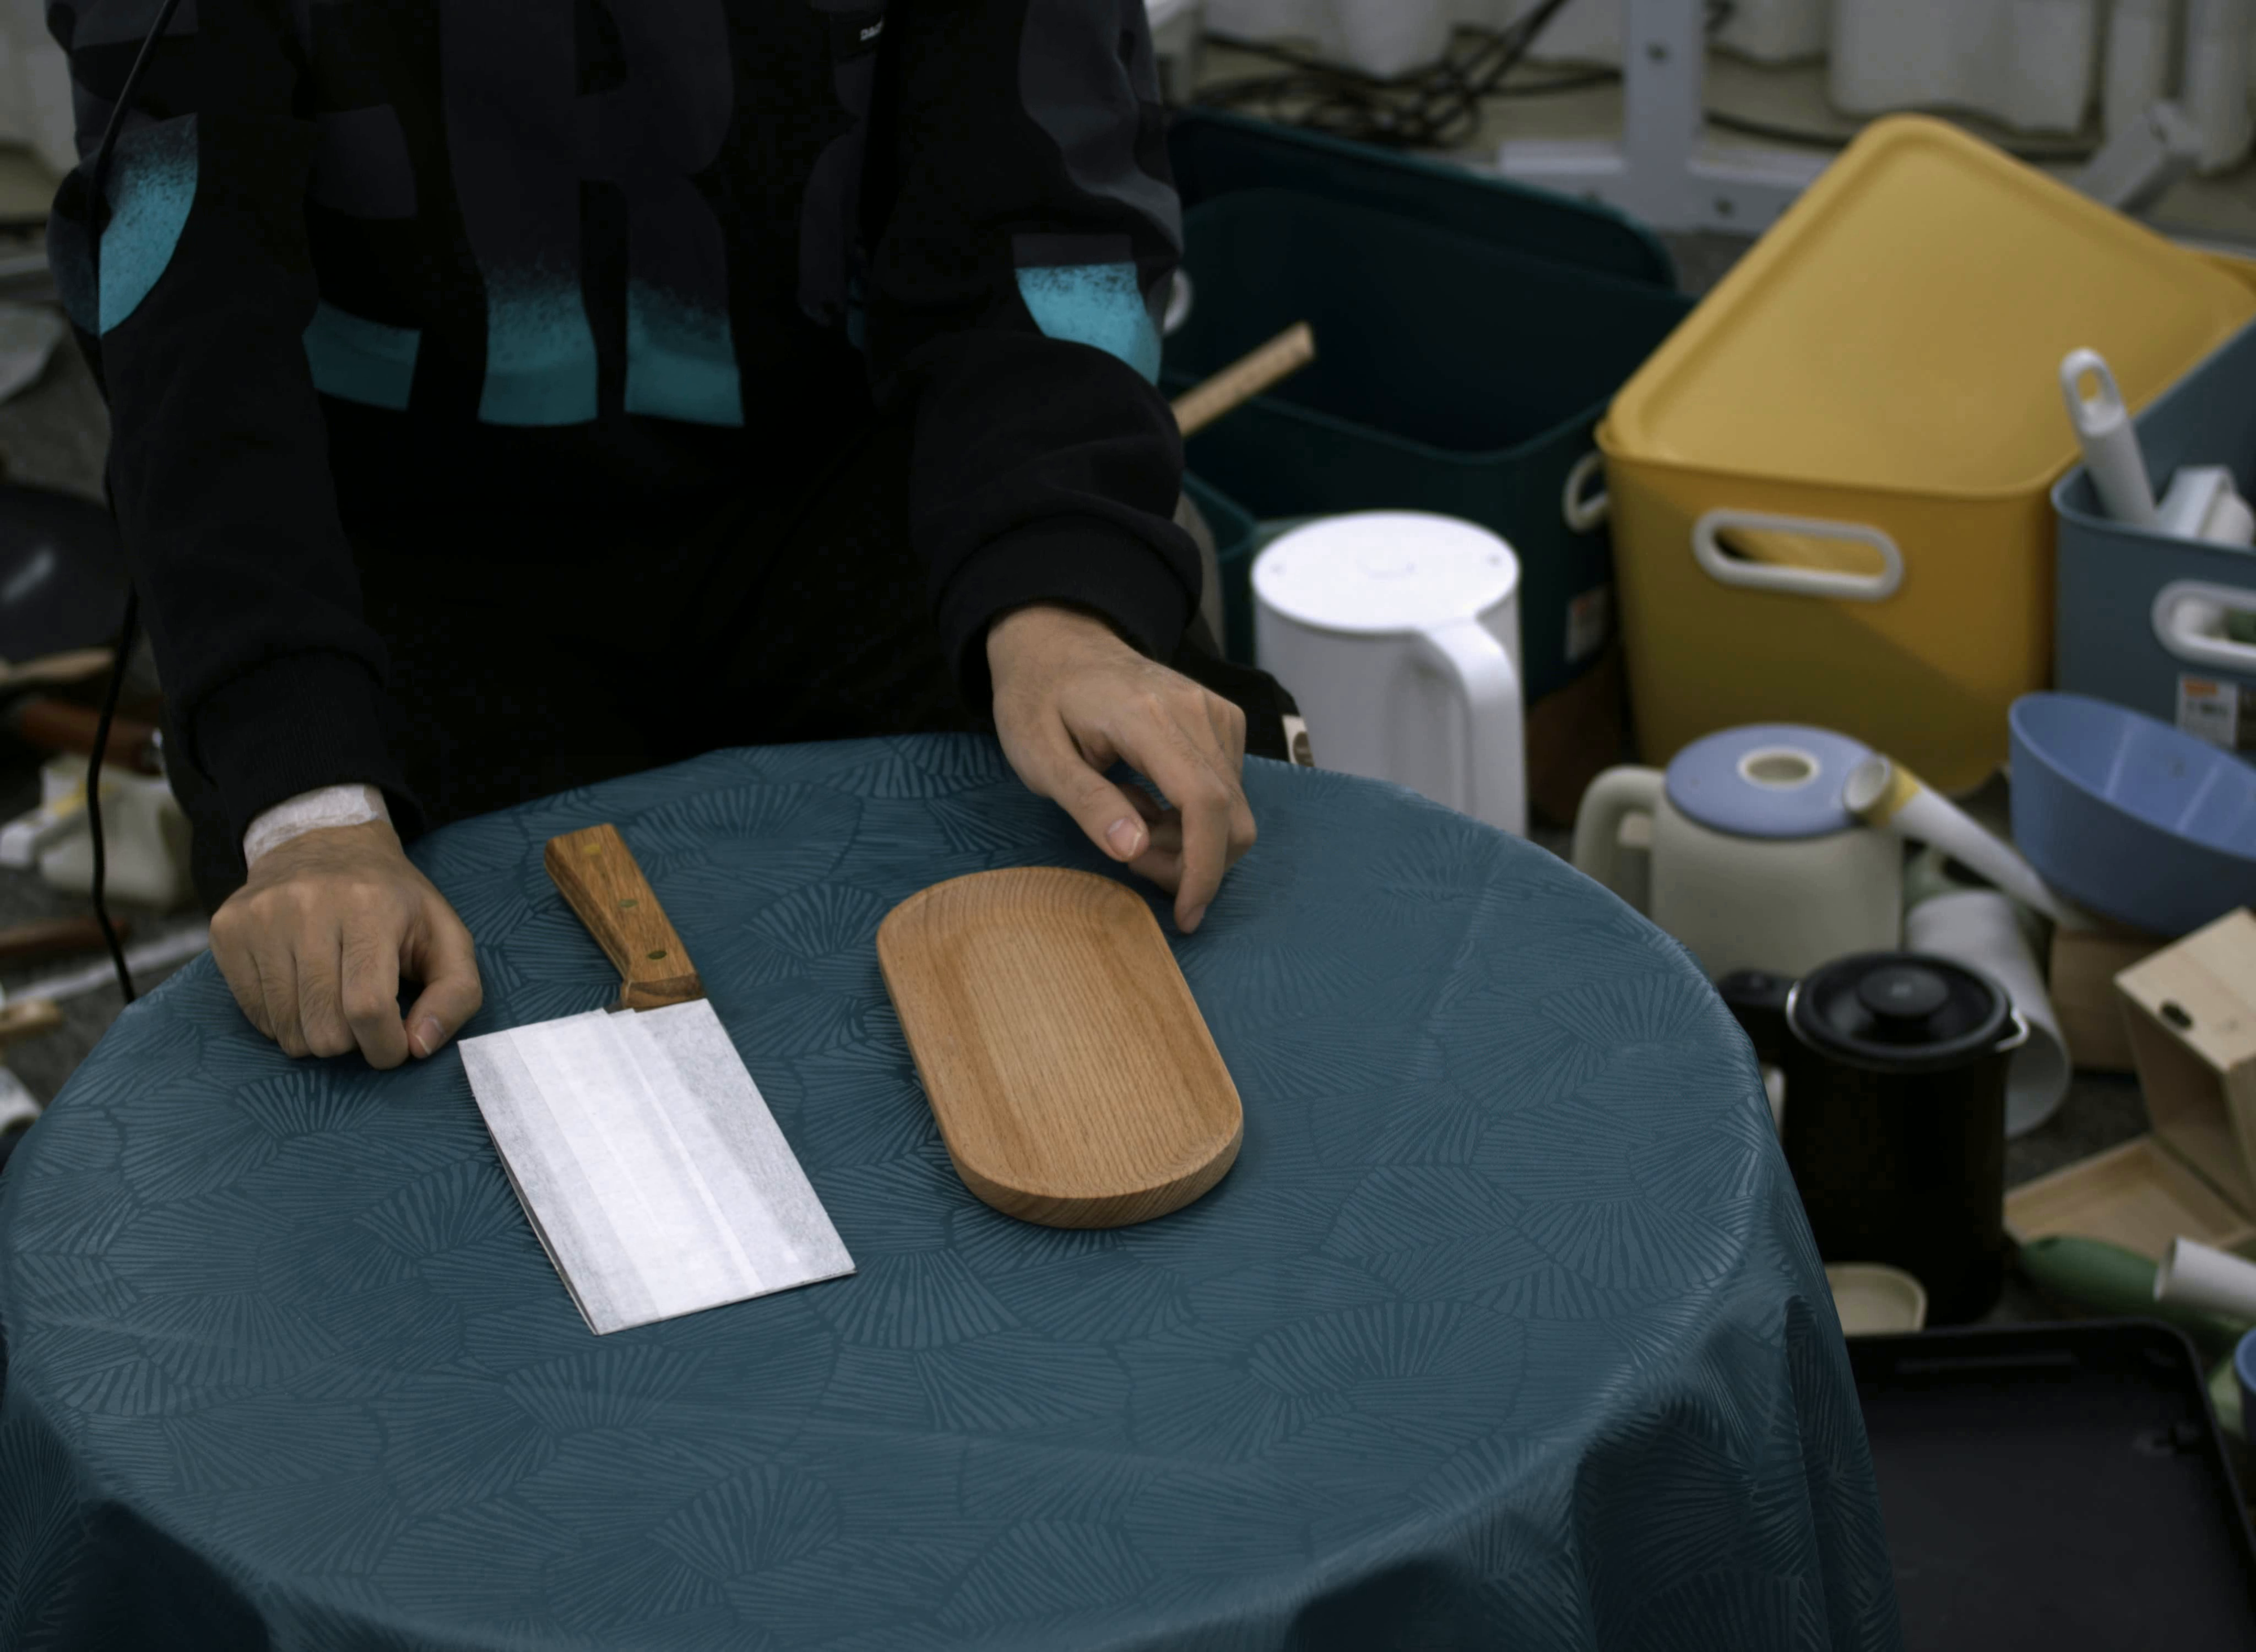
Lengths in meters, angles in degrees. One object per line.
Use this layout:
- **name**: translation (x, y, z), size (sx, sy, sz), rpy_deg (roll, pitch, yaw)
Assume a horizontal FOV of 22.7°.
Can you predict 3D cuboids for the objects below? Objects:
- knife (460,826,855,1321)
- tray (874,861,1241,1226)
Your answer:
- **knife**: translation (-0.178, 0.084, 1.936), size (0.093, 0.021, 0.309), rpy_deg (-13, 31, -15)
- **tray**: translation (-0.026, 0.073, 1.940), size (0.101, 0.020, 0.234), rpy_deg (-8, 27, -10)
